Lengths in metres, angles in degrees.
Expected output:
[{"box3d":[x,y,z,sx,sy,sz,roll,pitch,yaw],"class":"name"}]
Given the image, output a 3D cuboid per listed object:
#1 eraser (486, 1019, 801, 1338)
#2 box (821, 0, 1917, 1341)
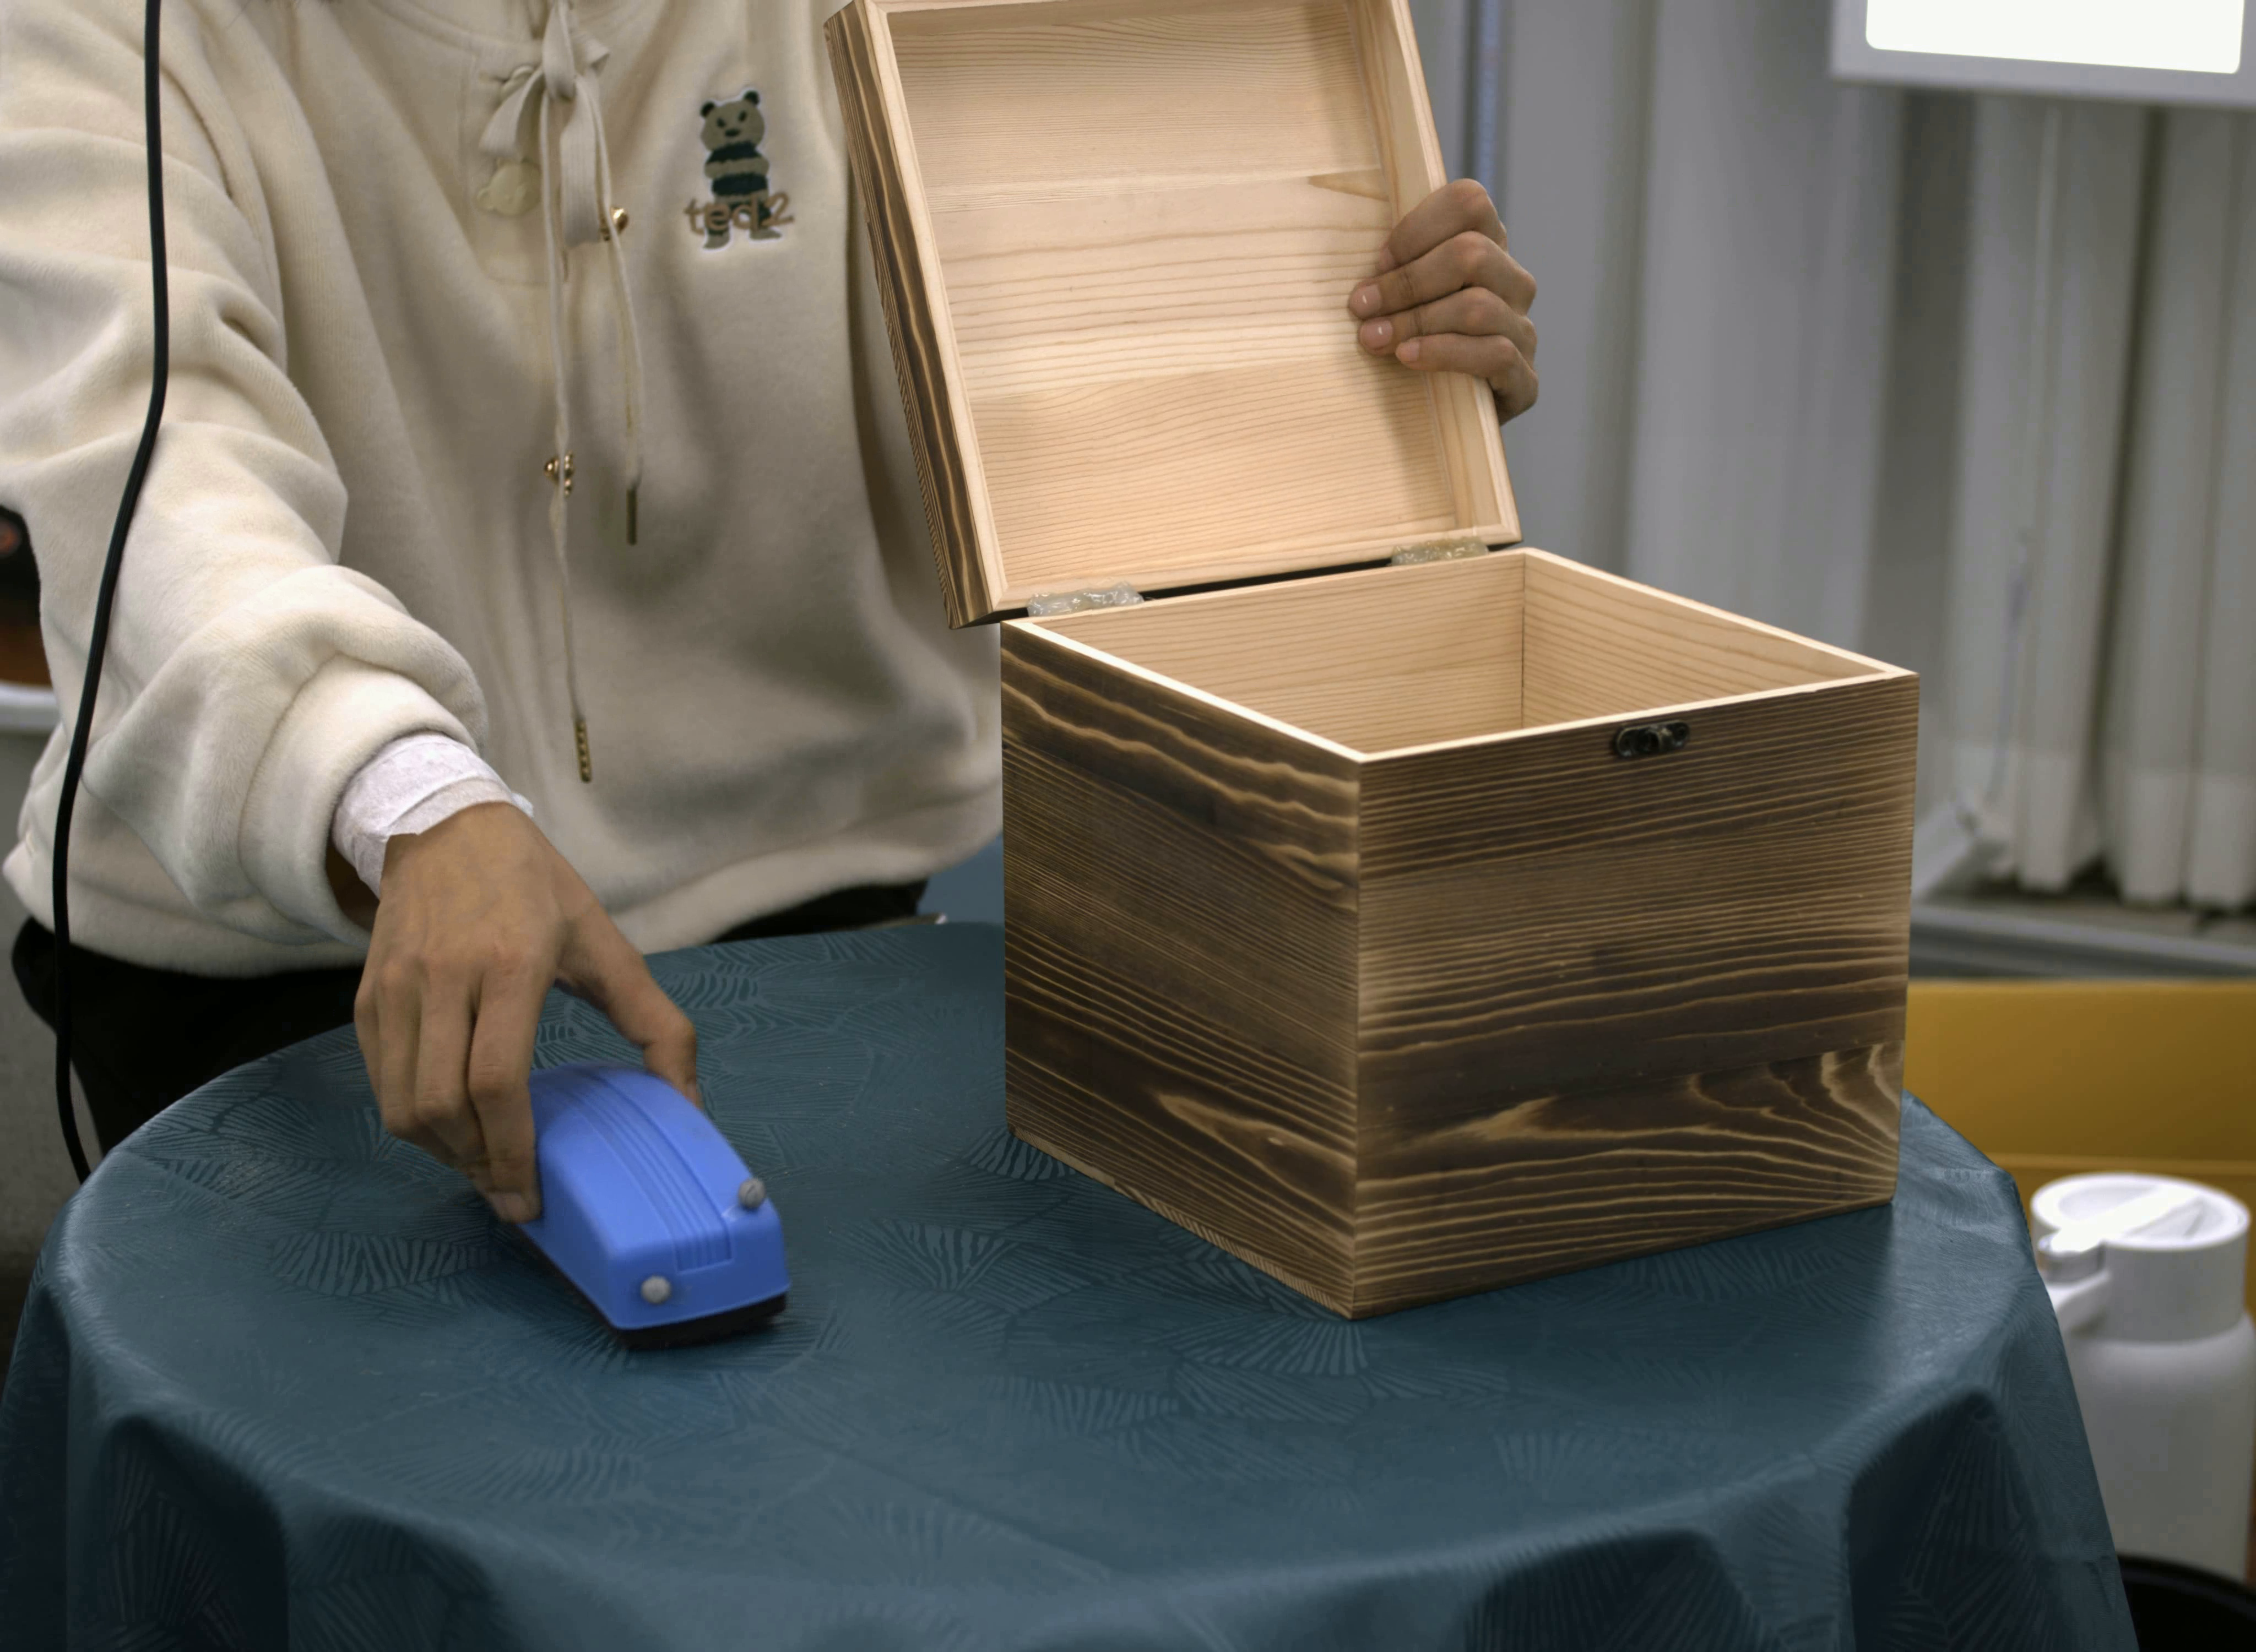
[{"box3d":[-0.146,0.097,1.553,0.054,0.048,0.160,-17,23,-16],"class":"eraser"},{"box3d":[0.069,-0.076,1.635,0.209,0.378,0.318,-10,18,-30],"class":"box"}]
